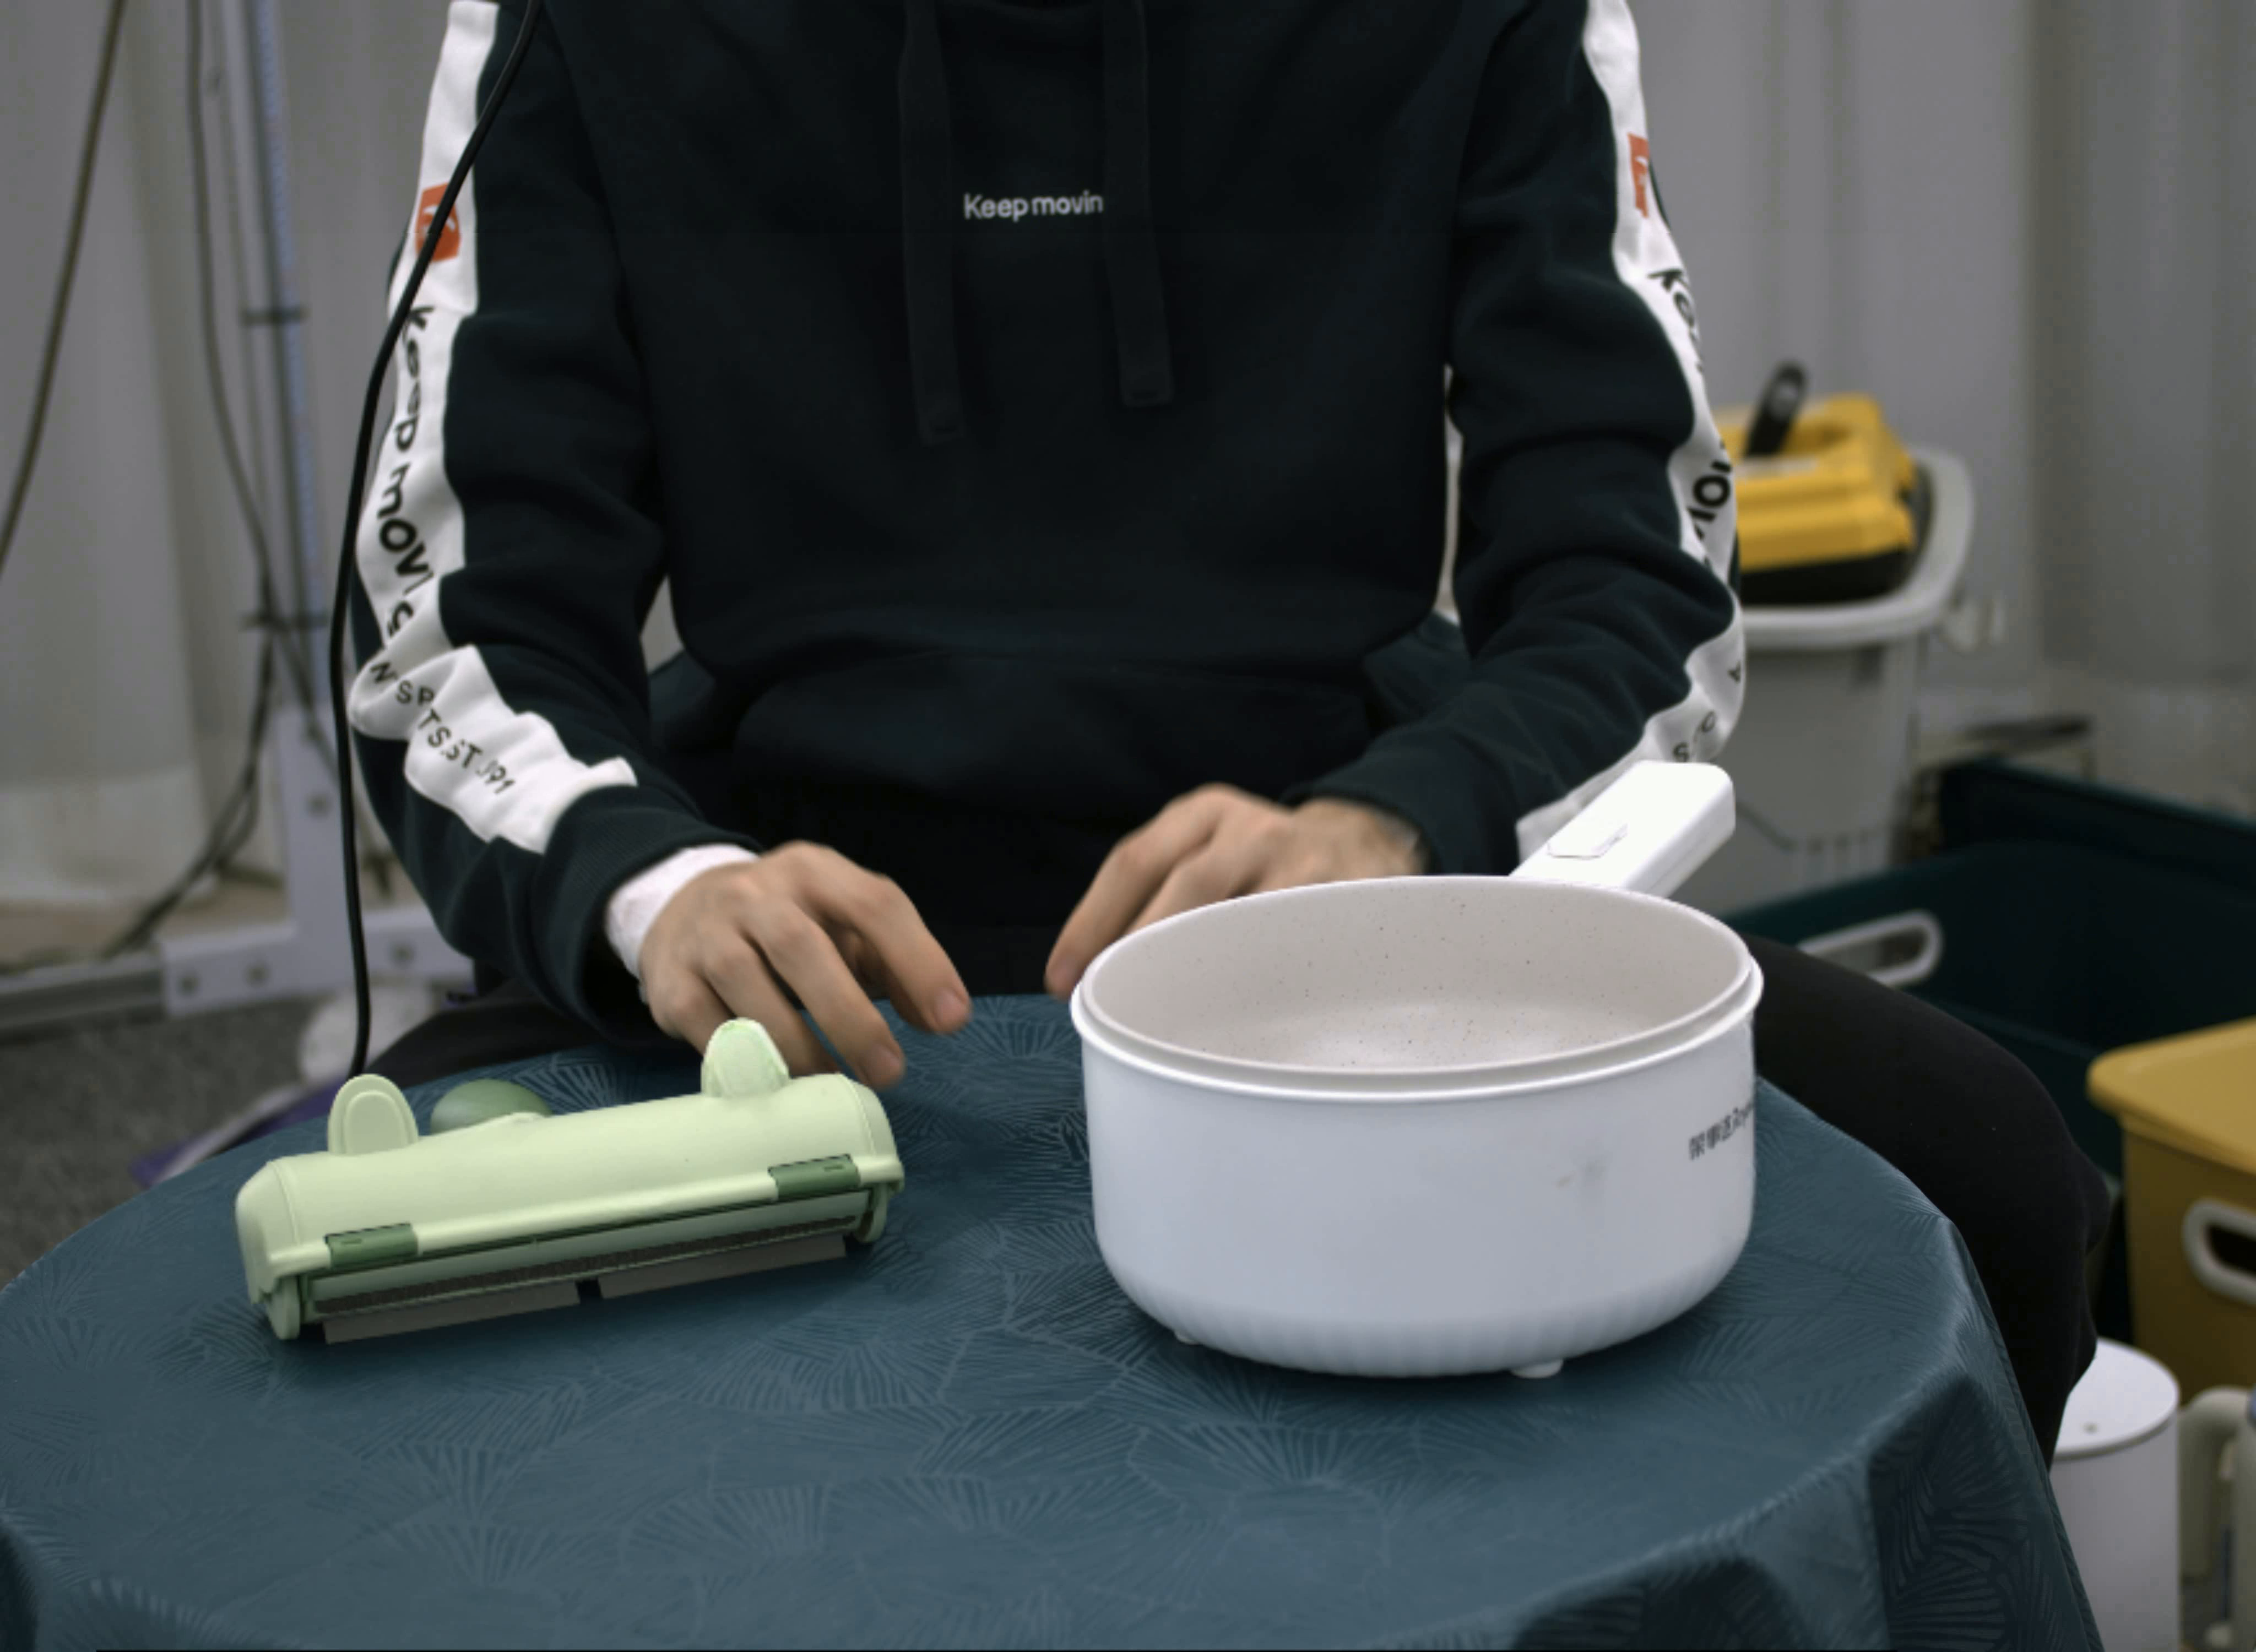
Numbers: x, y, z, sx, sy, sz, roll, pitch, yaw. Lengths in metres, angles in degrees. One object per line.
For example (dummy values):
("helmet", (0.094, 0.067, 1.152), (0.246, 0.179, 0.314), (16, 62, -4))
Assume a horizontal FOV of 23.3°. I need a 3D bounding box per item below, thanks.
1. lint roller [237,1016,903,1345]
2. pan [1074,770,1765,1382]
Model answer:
("lint roller", (-0.187, 0.091, 1.696), (0.198, 0.081, 0.185), (-8, 21, -18))
("pan", (0.117, 0.072, 1.664), (0.201, 0.102, 0.355), (3, 15, 24))
